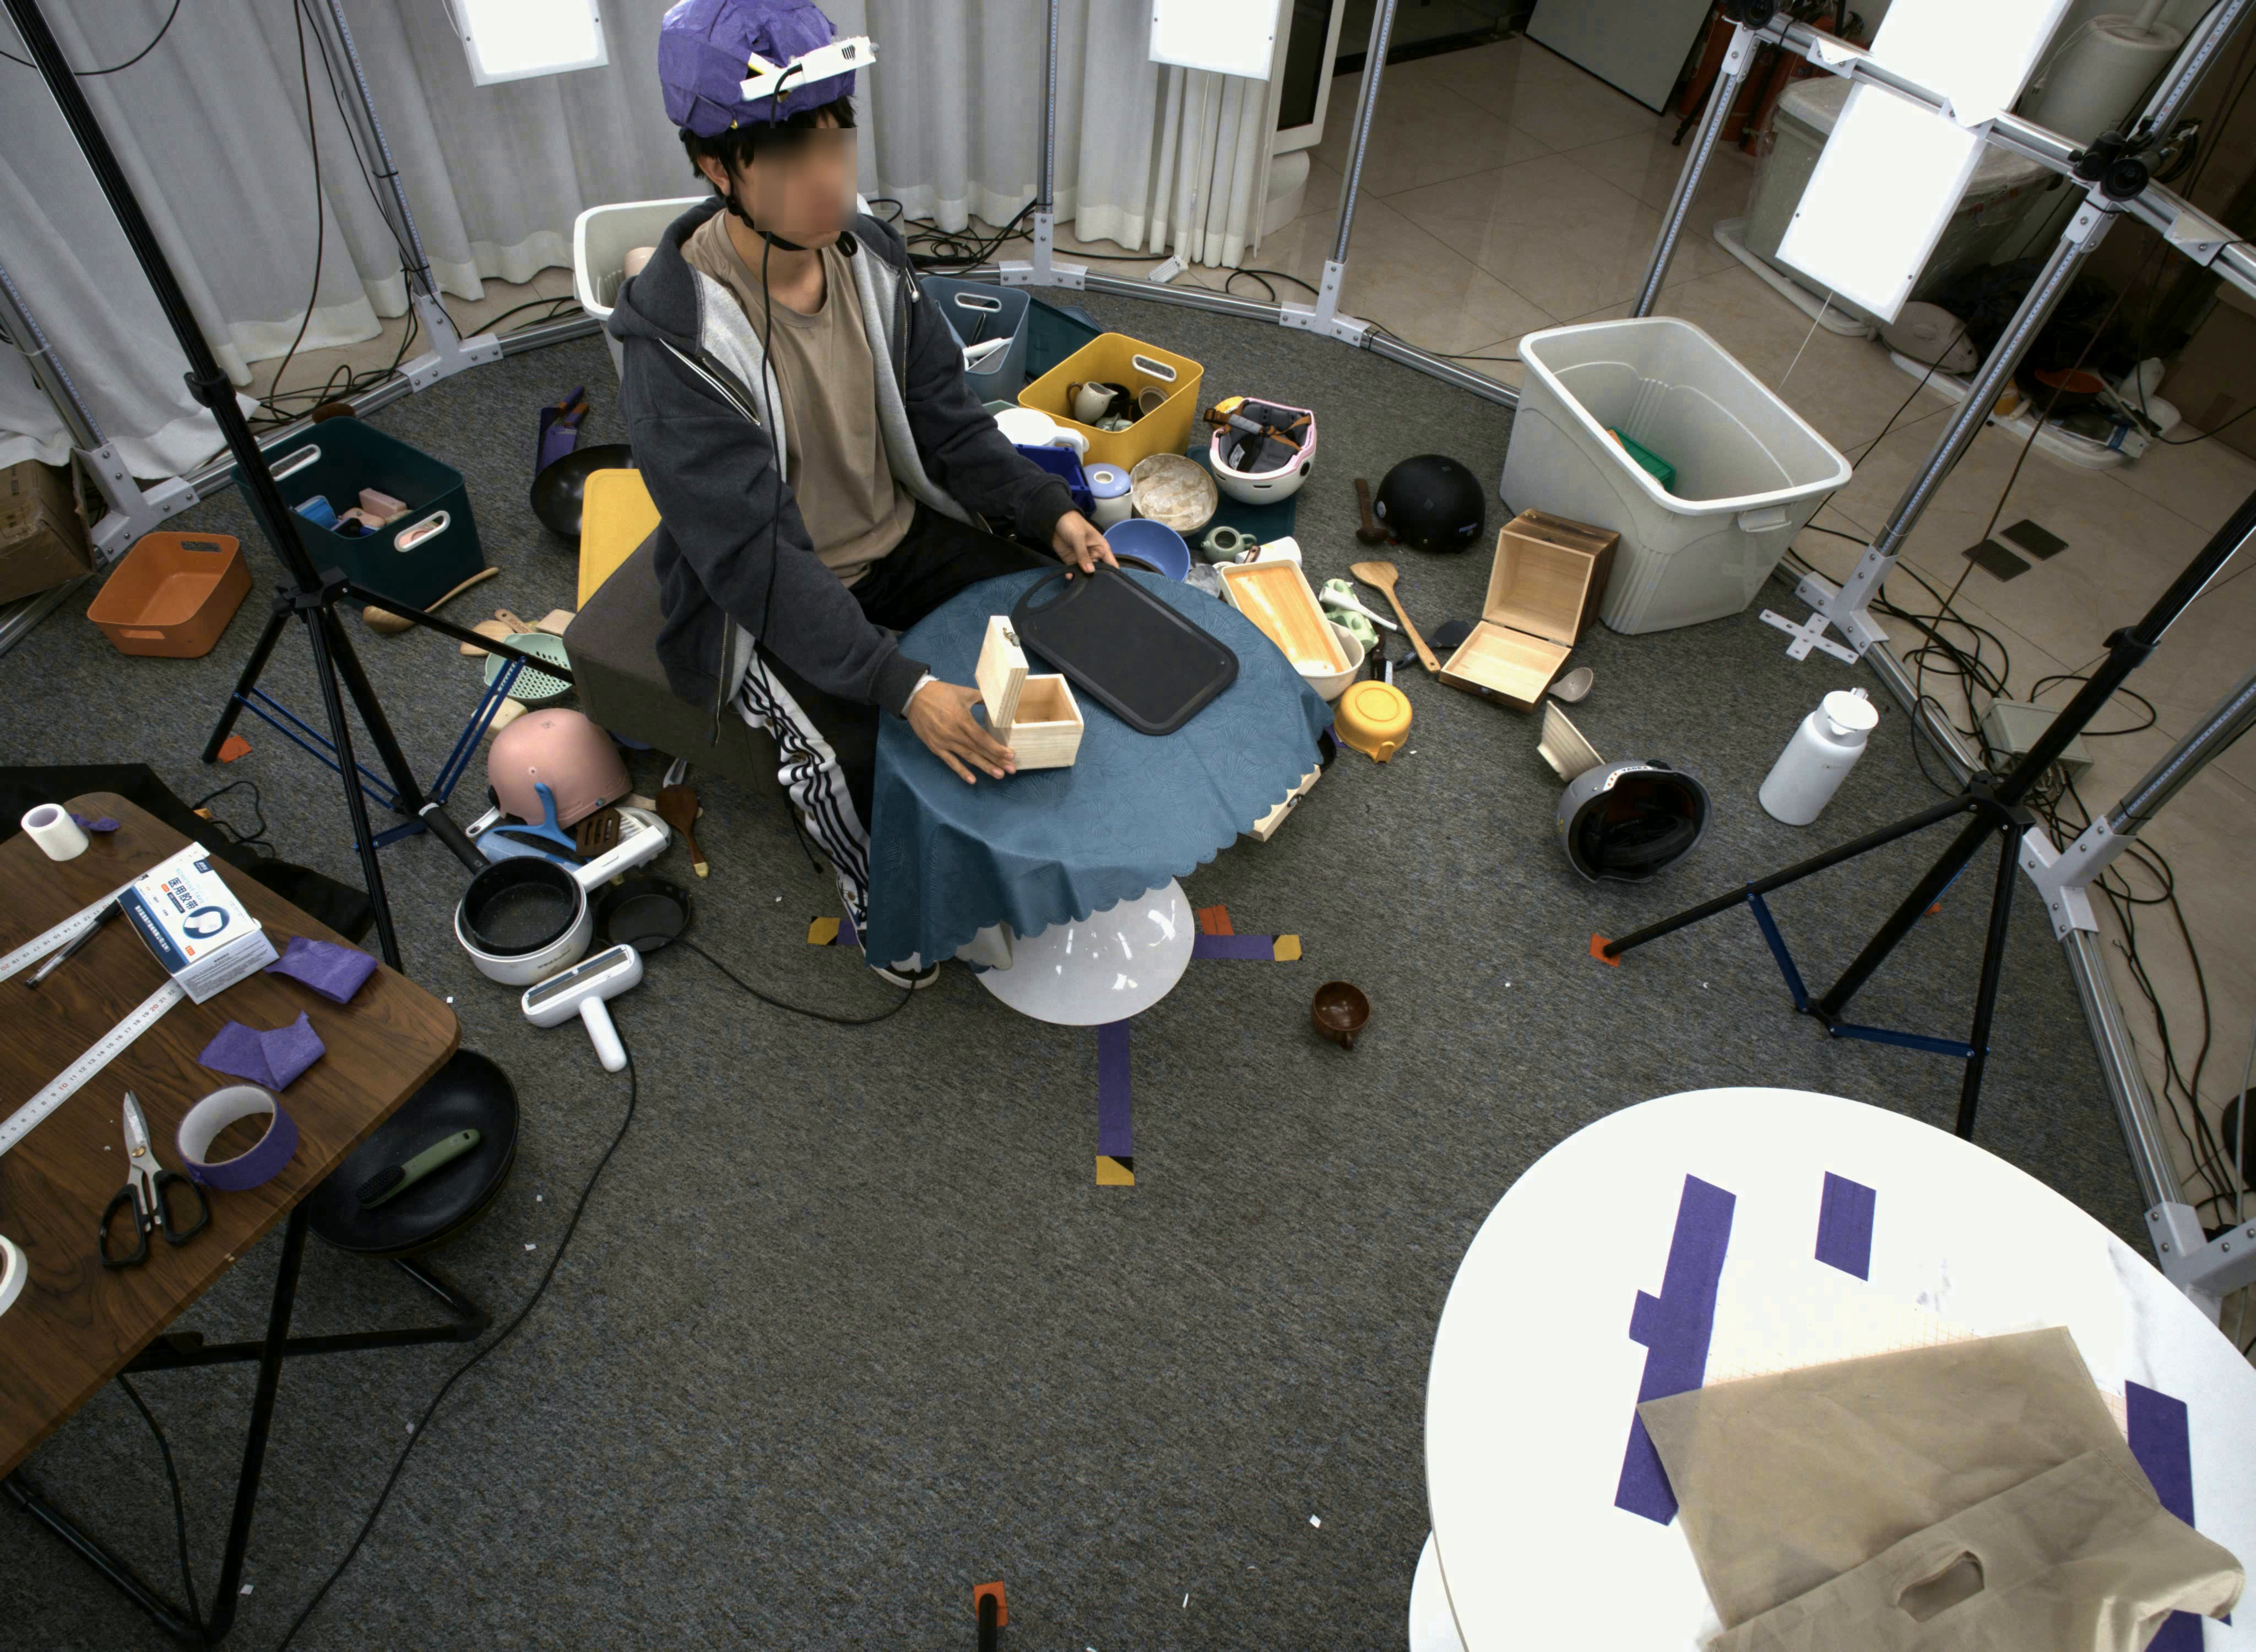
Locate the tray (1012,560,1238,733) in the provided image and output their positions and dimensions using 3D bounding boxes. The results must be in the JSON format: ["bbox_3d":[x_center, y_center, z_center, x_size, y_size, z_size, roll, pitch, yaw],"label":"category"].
[{"bbox_3d":[-0.012,-0.271,1.868,0.329,0.009,0.213,39,60,19],"label":"tray"}]

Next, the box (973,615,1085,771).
[{"bbox_3d":[-0.125,-0.175,1.672,0.133,0.180,0.105,-7,47,-22],"label":"box"}]
